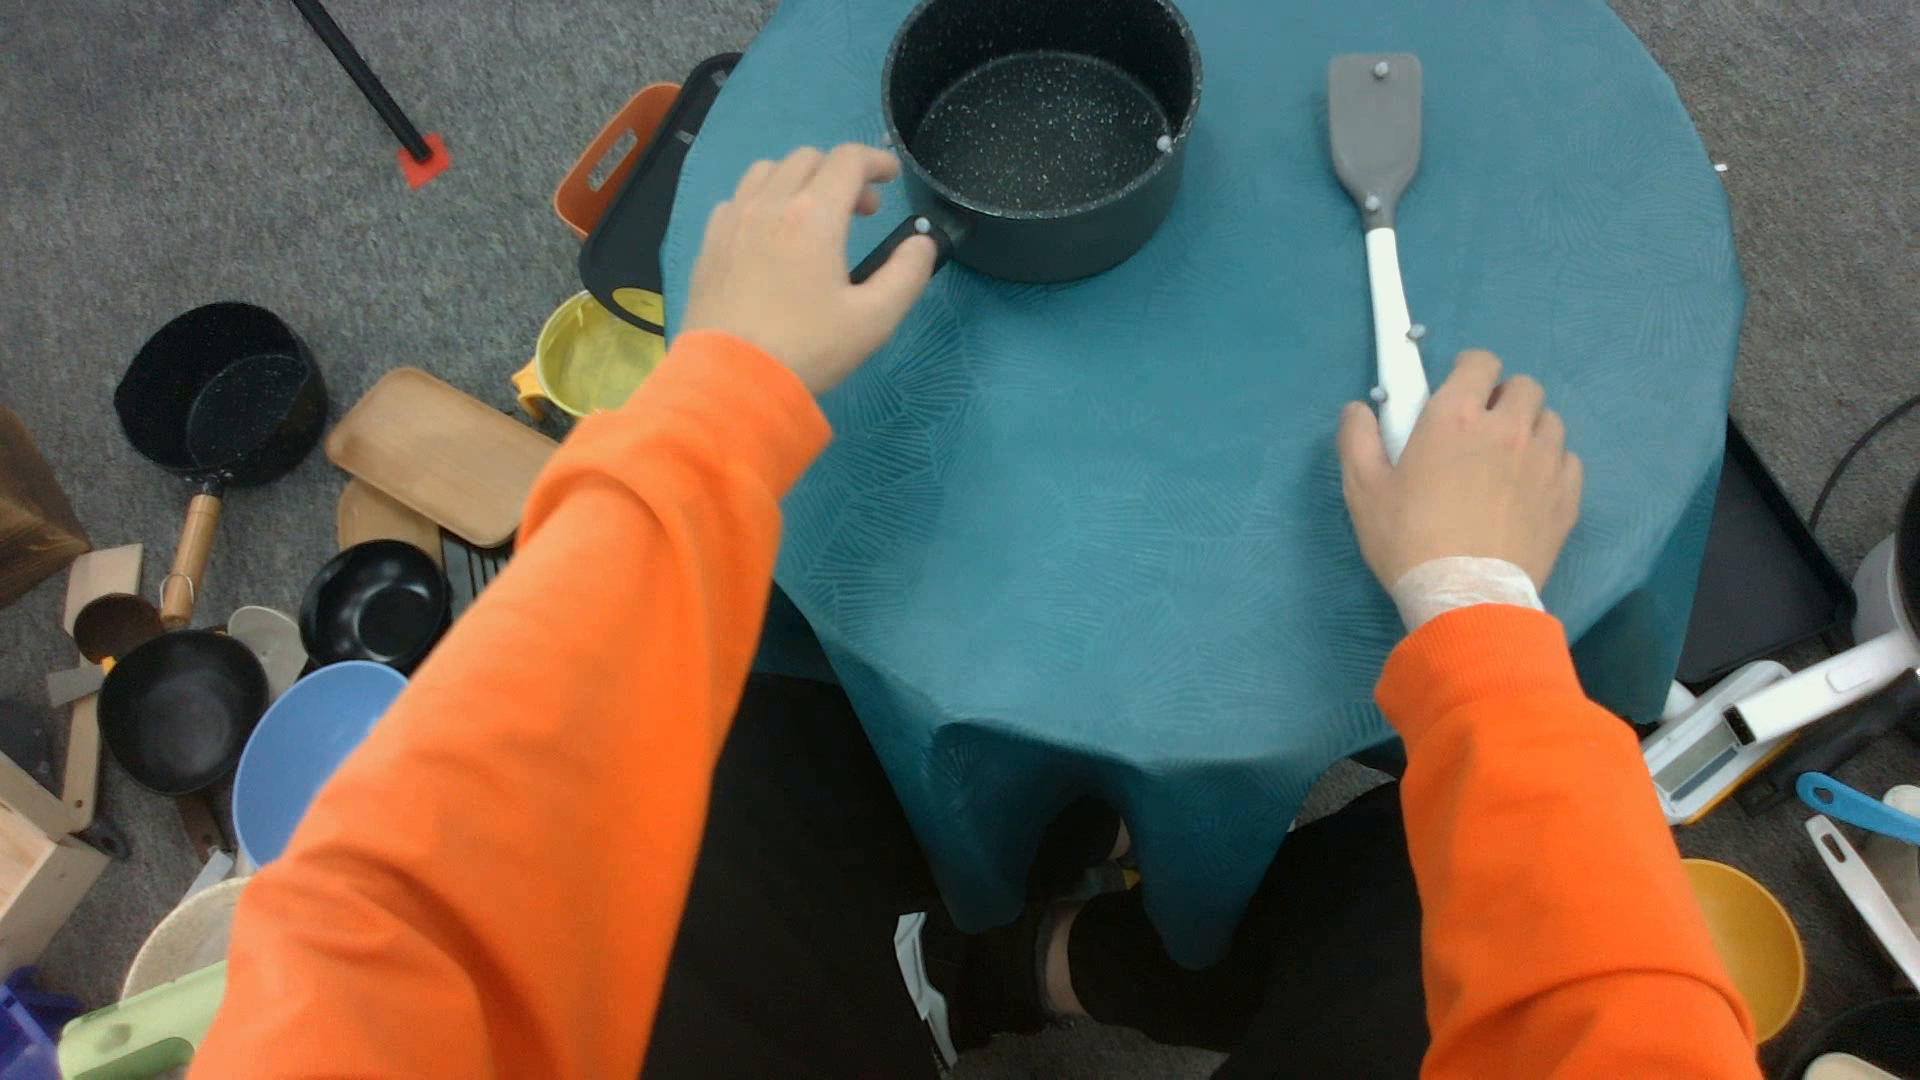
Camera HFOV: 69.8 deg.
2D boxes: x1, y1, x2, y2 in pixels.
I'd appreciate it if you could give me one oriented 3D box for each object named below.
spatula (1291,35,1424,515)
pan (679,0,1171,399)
[{"bbox_3d":[0.218,-0.152,0.749,0.058,0.032,0.288,-2,70,6],"label":"spatula"},{"bbox_3d":[-0.021,-0.184,0.745,0.172,0.086,0.329,36,73,16],"label":"pan"}]
